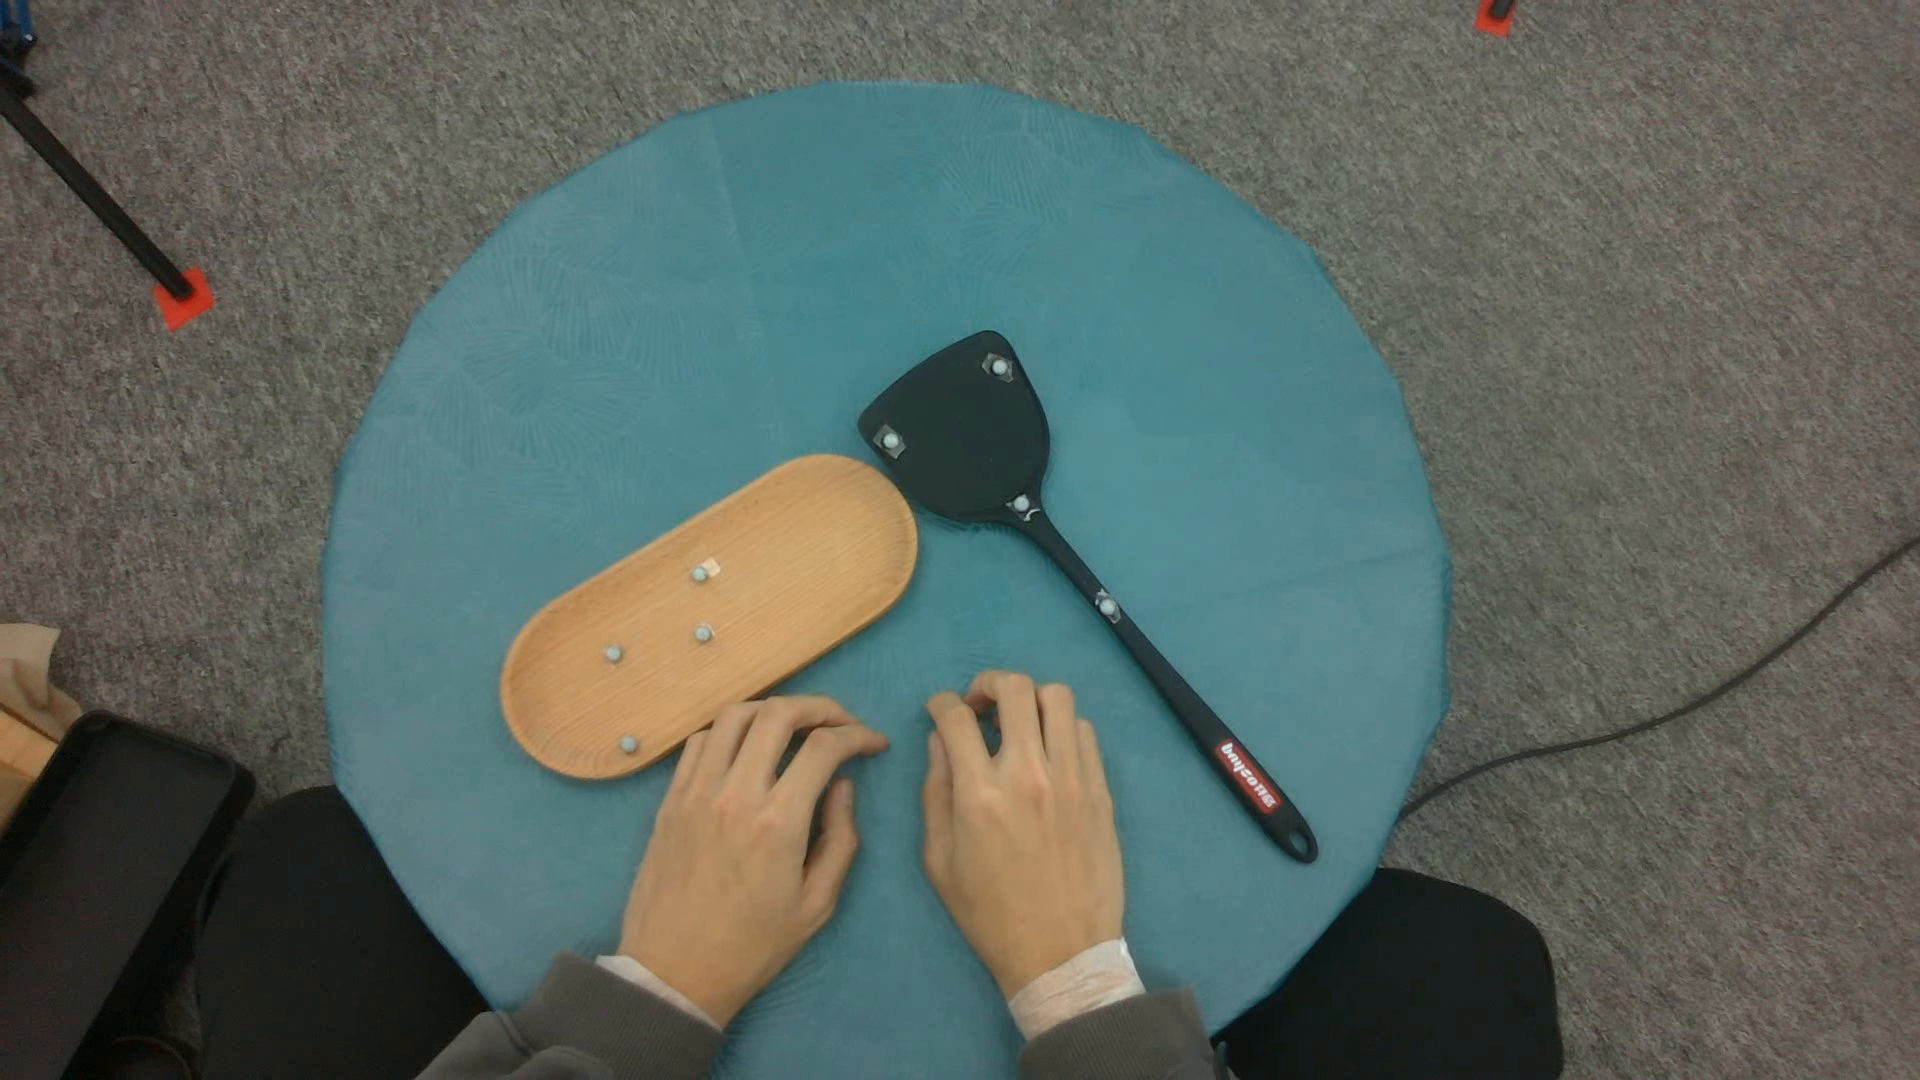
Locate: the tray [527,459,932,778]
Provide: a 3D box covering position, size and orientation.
[{"bbox_3d":[-0.120,0.040,0.732,0.231,0.020,0.102,-32,73,-13],"label":"tray"}]

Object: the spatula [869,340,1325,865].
[{"bbox_3d":[0.082,0.037,0.725,0.100,0.040,0.326,-36,73,-12],"label":"spatula"}]
